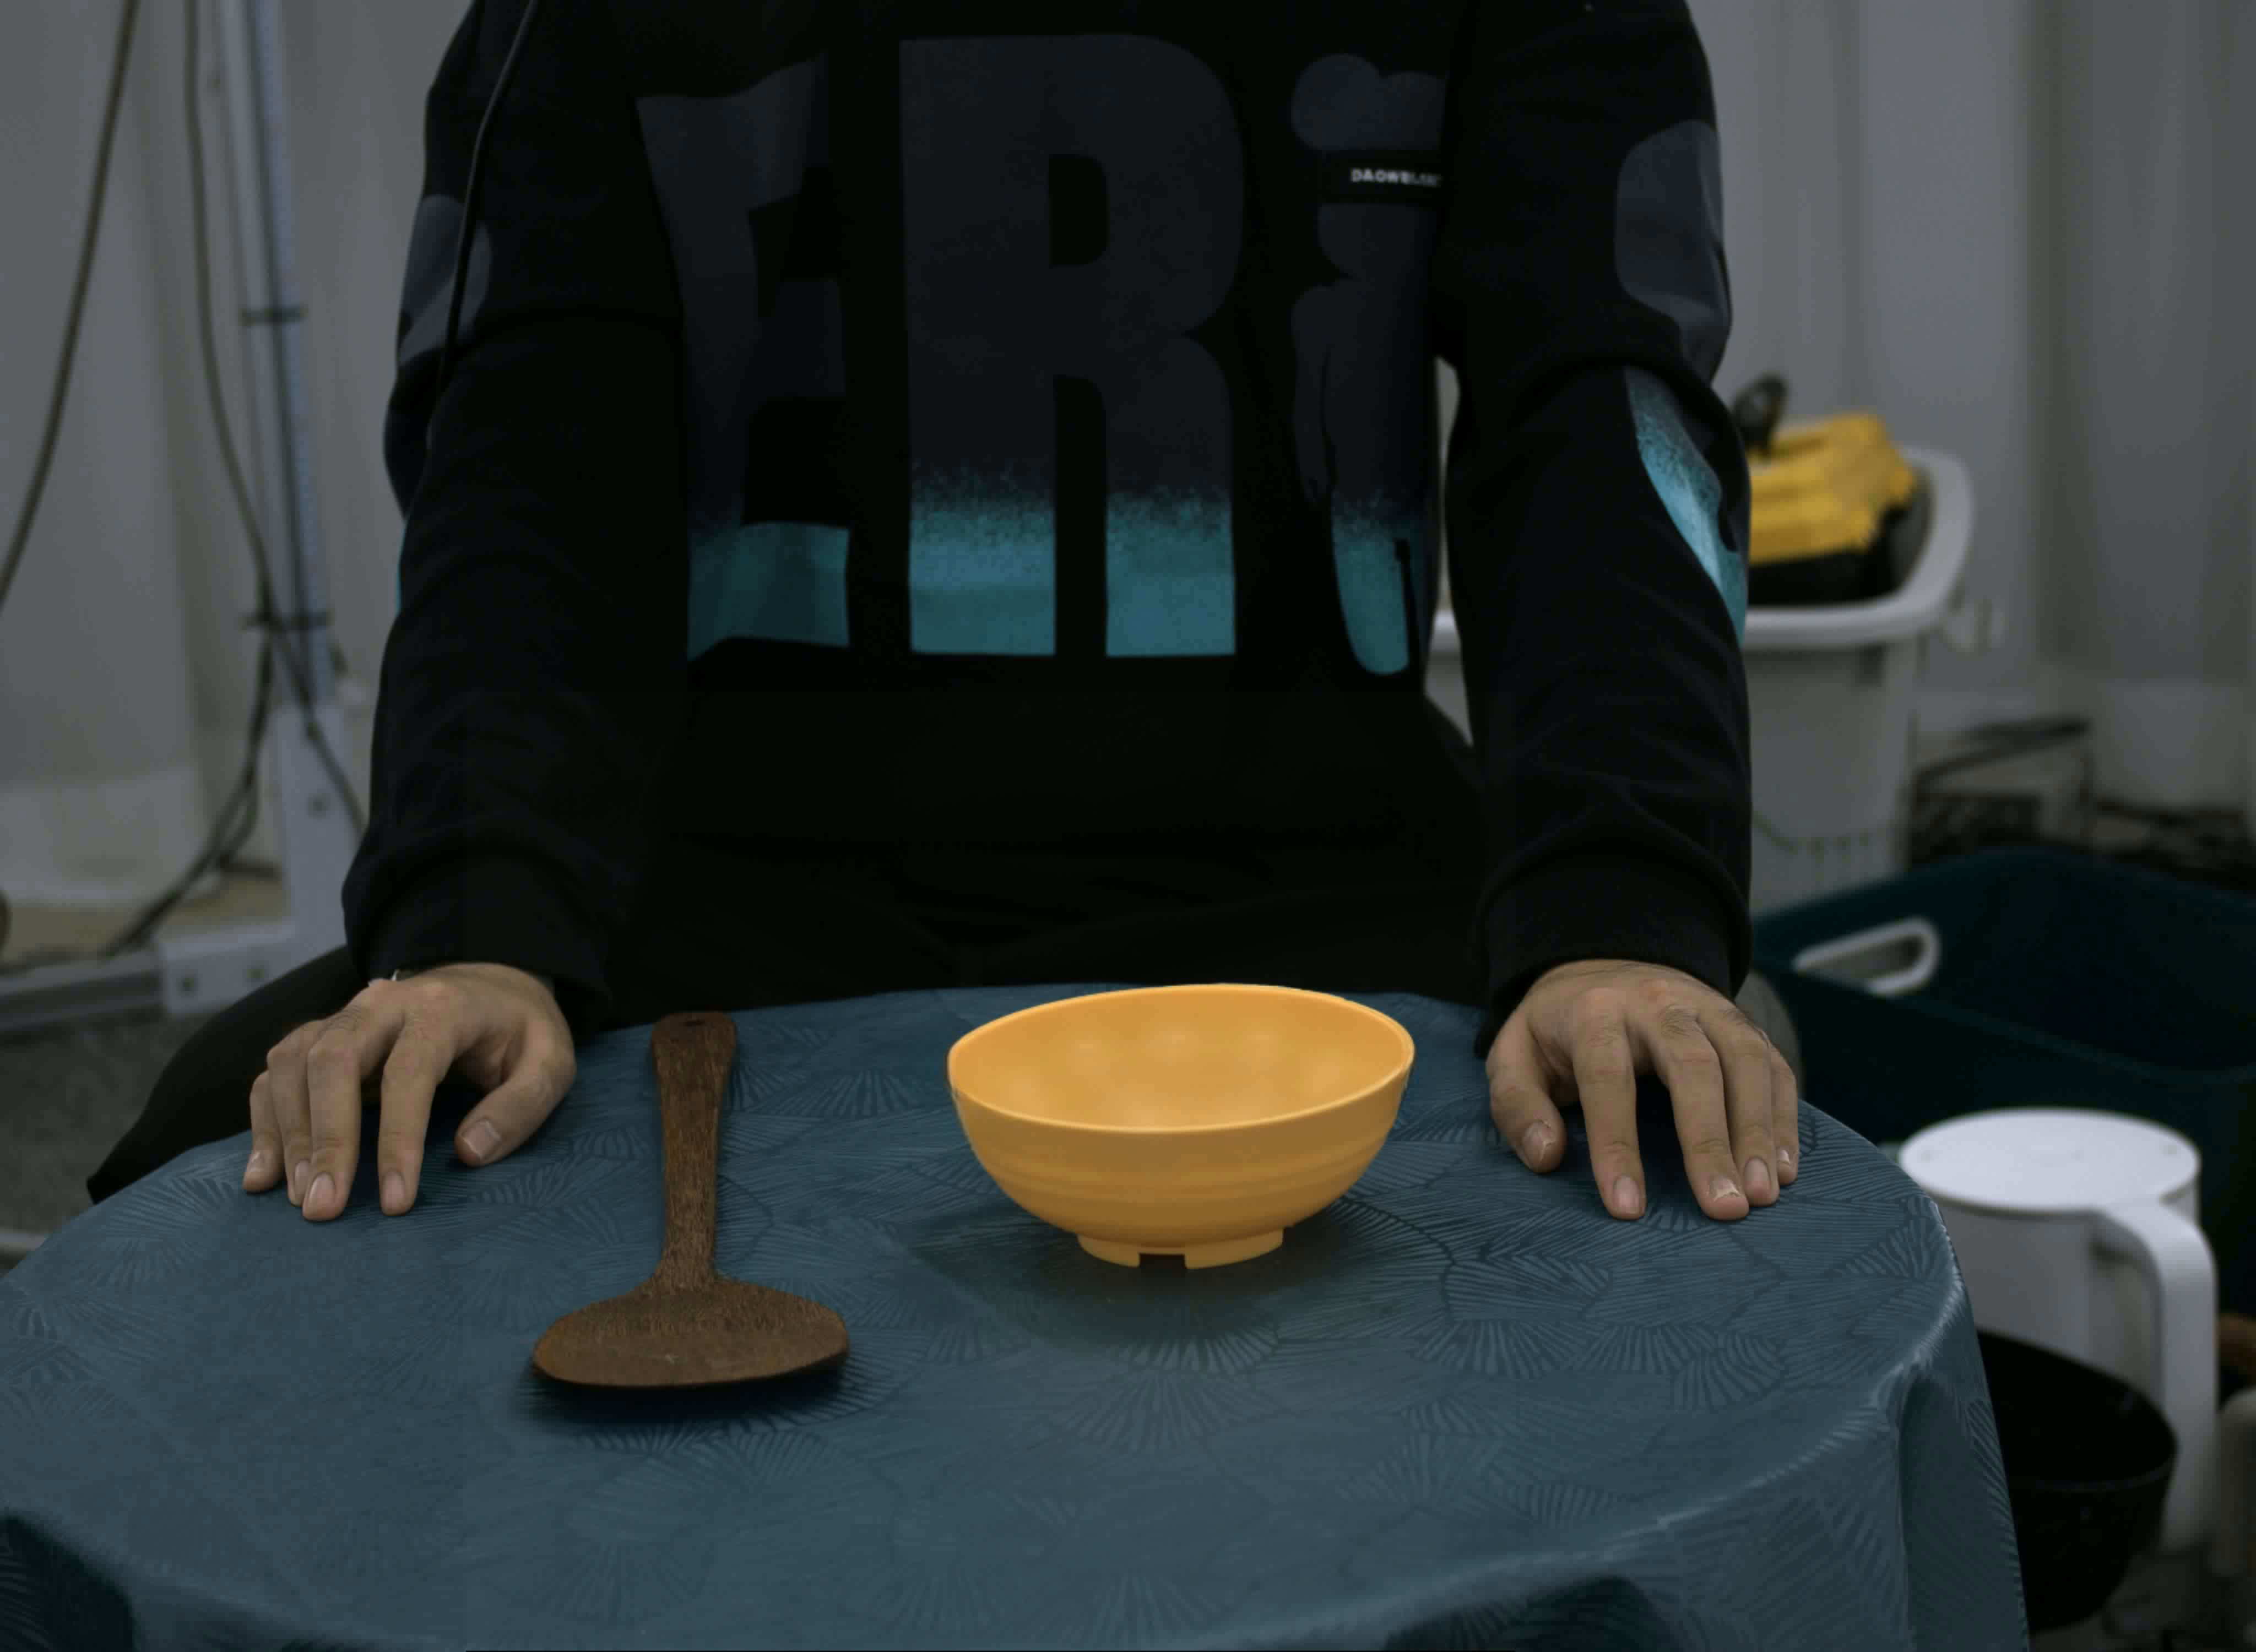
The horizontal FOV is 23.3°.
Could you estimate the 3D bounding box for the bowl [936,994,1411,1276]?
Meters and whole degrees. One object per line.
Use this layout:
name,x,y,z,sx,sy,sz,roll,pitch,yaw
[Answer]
bowl,0.014,0.099,1.666,0.145,0.060,0.146,0,14,0

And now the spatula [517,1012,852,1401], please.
spatula,-0.138,0.113,1.720,0.096,0.016,0.389,-3,15,-4
